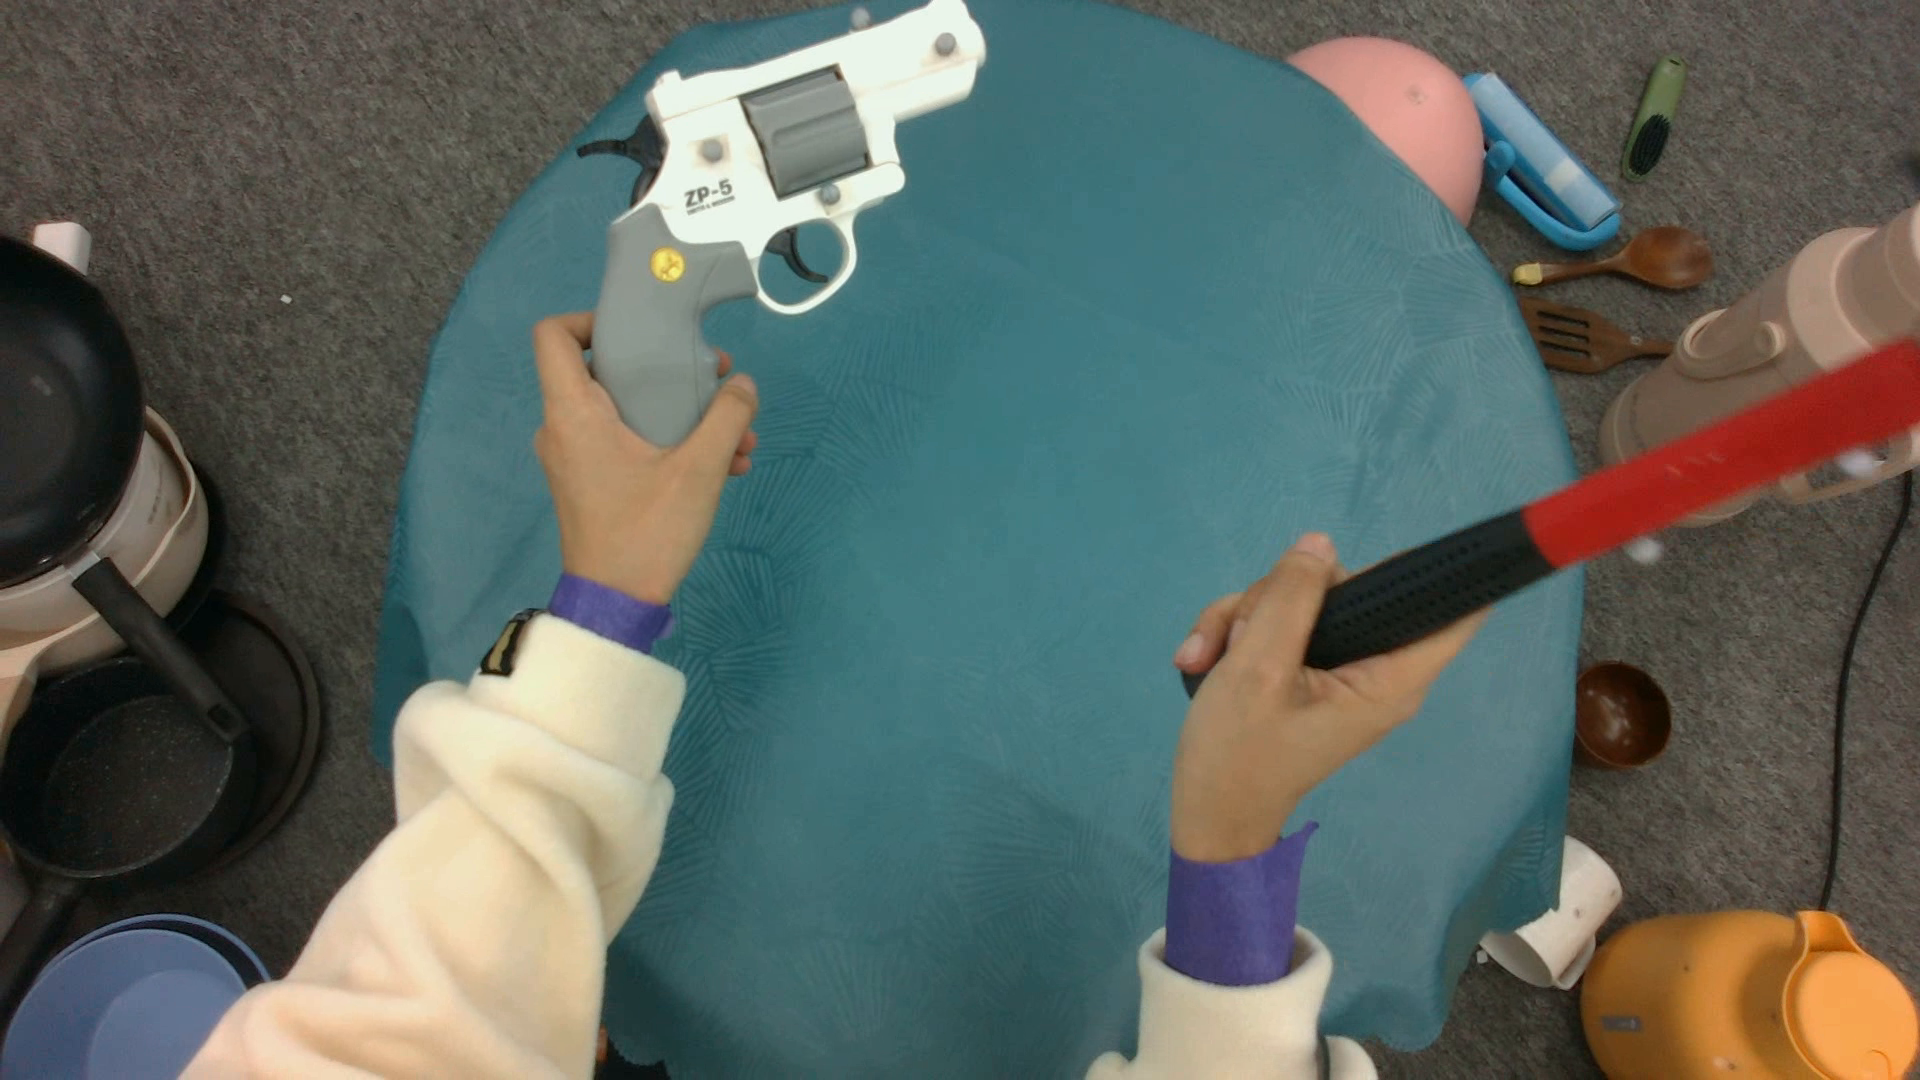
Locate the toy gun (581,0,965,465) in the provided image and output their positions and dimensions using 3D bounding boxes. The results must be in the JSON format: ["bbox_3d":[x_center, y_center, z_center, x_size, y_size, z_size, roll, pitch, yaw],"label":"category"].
[{"bbox_3d":[-0.073,-0.128,0.549,0.209,0.039,0.141,-27,105,-17],"label":"toy gun"}]

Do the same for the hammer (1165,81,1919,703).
[{"bbox_3d":[0.168,-0.007,0.401,0.110,0.276,0.026,50,43,-8],"label":"hammer"}]
